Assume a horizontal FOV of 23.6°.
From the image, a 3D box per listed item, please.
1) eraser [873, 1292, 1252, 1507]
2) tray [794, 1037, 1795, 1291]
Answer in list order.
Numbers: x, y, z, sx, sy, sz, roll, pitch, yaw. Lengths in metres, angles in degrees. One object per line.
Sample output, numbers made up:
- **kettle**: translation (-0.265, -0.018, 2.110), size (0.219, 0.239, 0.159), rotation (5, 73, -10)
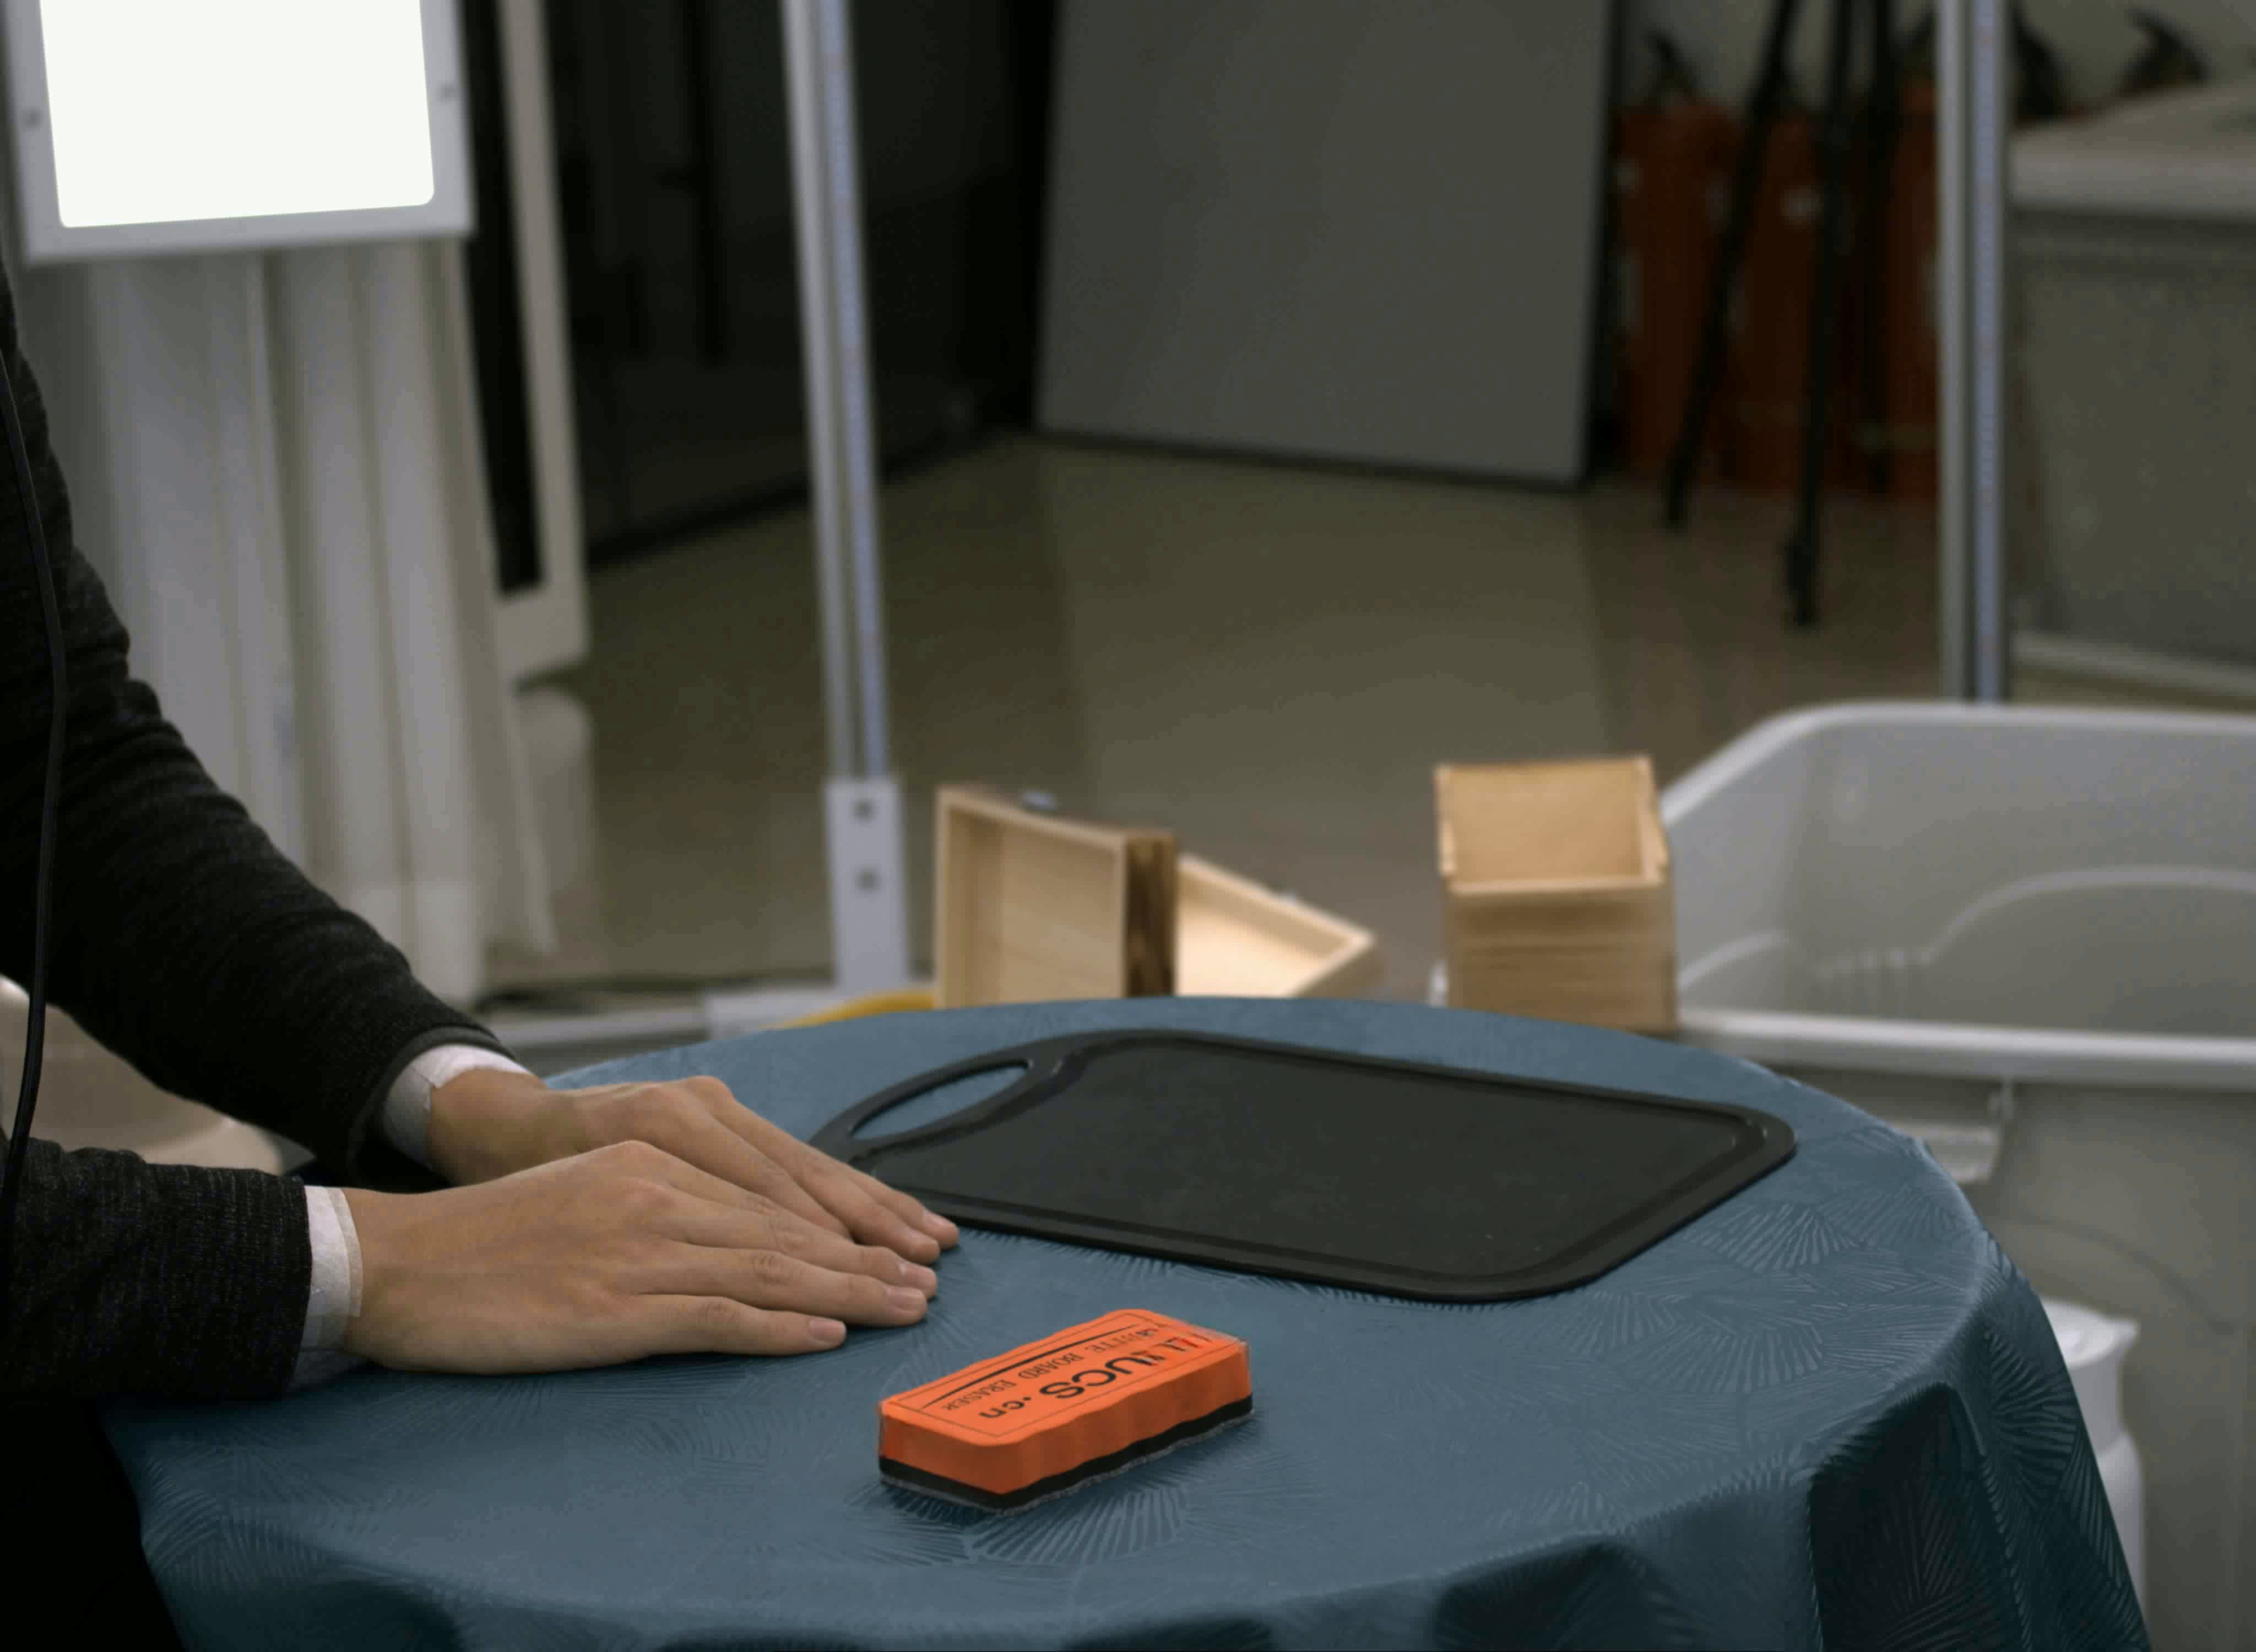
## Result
- **eraser**: translation (-0.018, 0.163, 1.540), size (0.106, 0.023, 0.059), rotation (-19, 18, -40)
- **tray**: translation (0.047, 0.108, 1.795), size (0.327, 0.010, 0.207), rotation (6, 17, 36)
